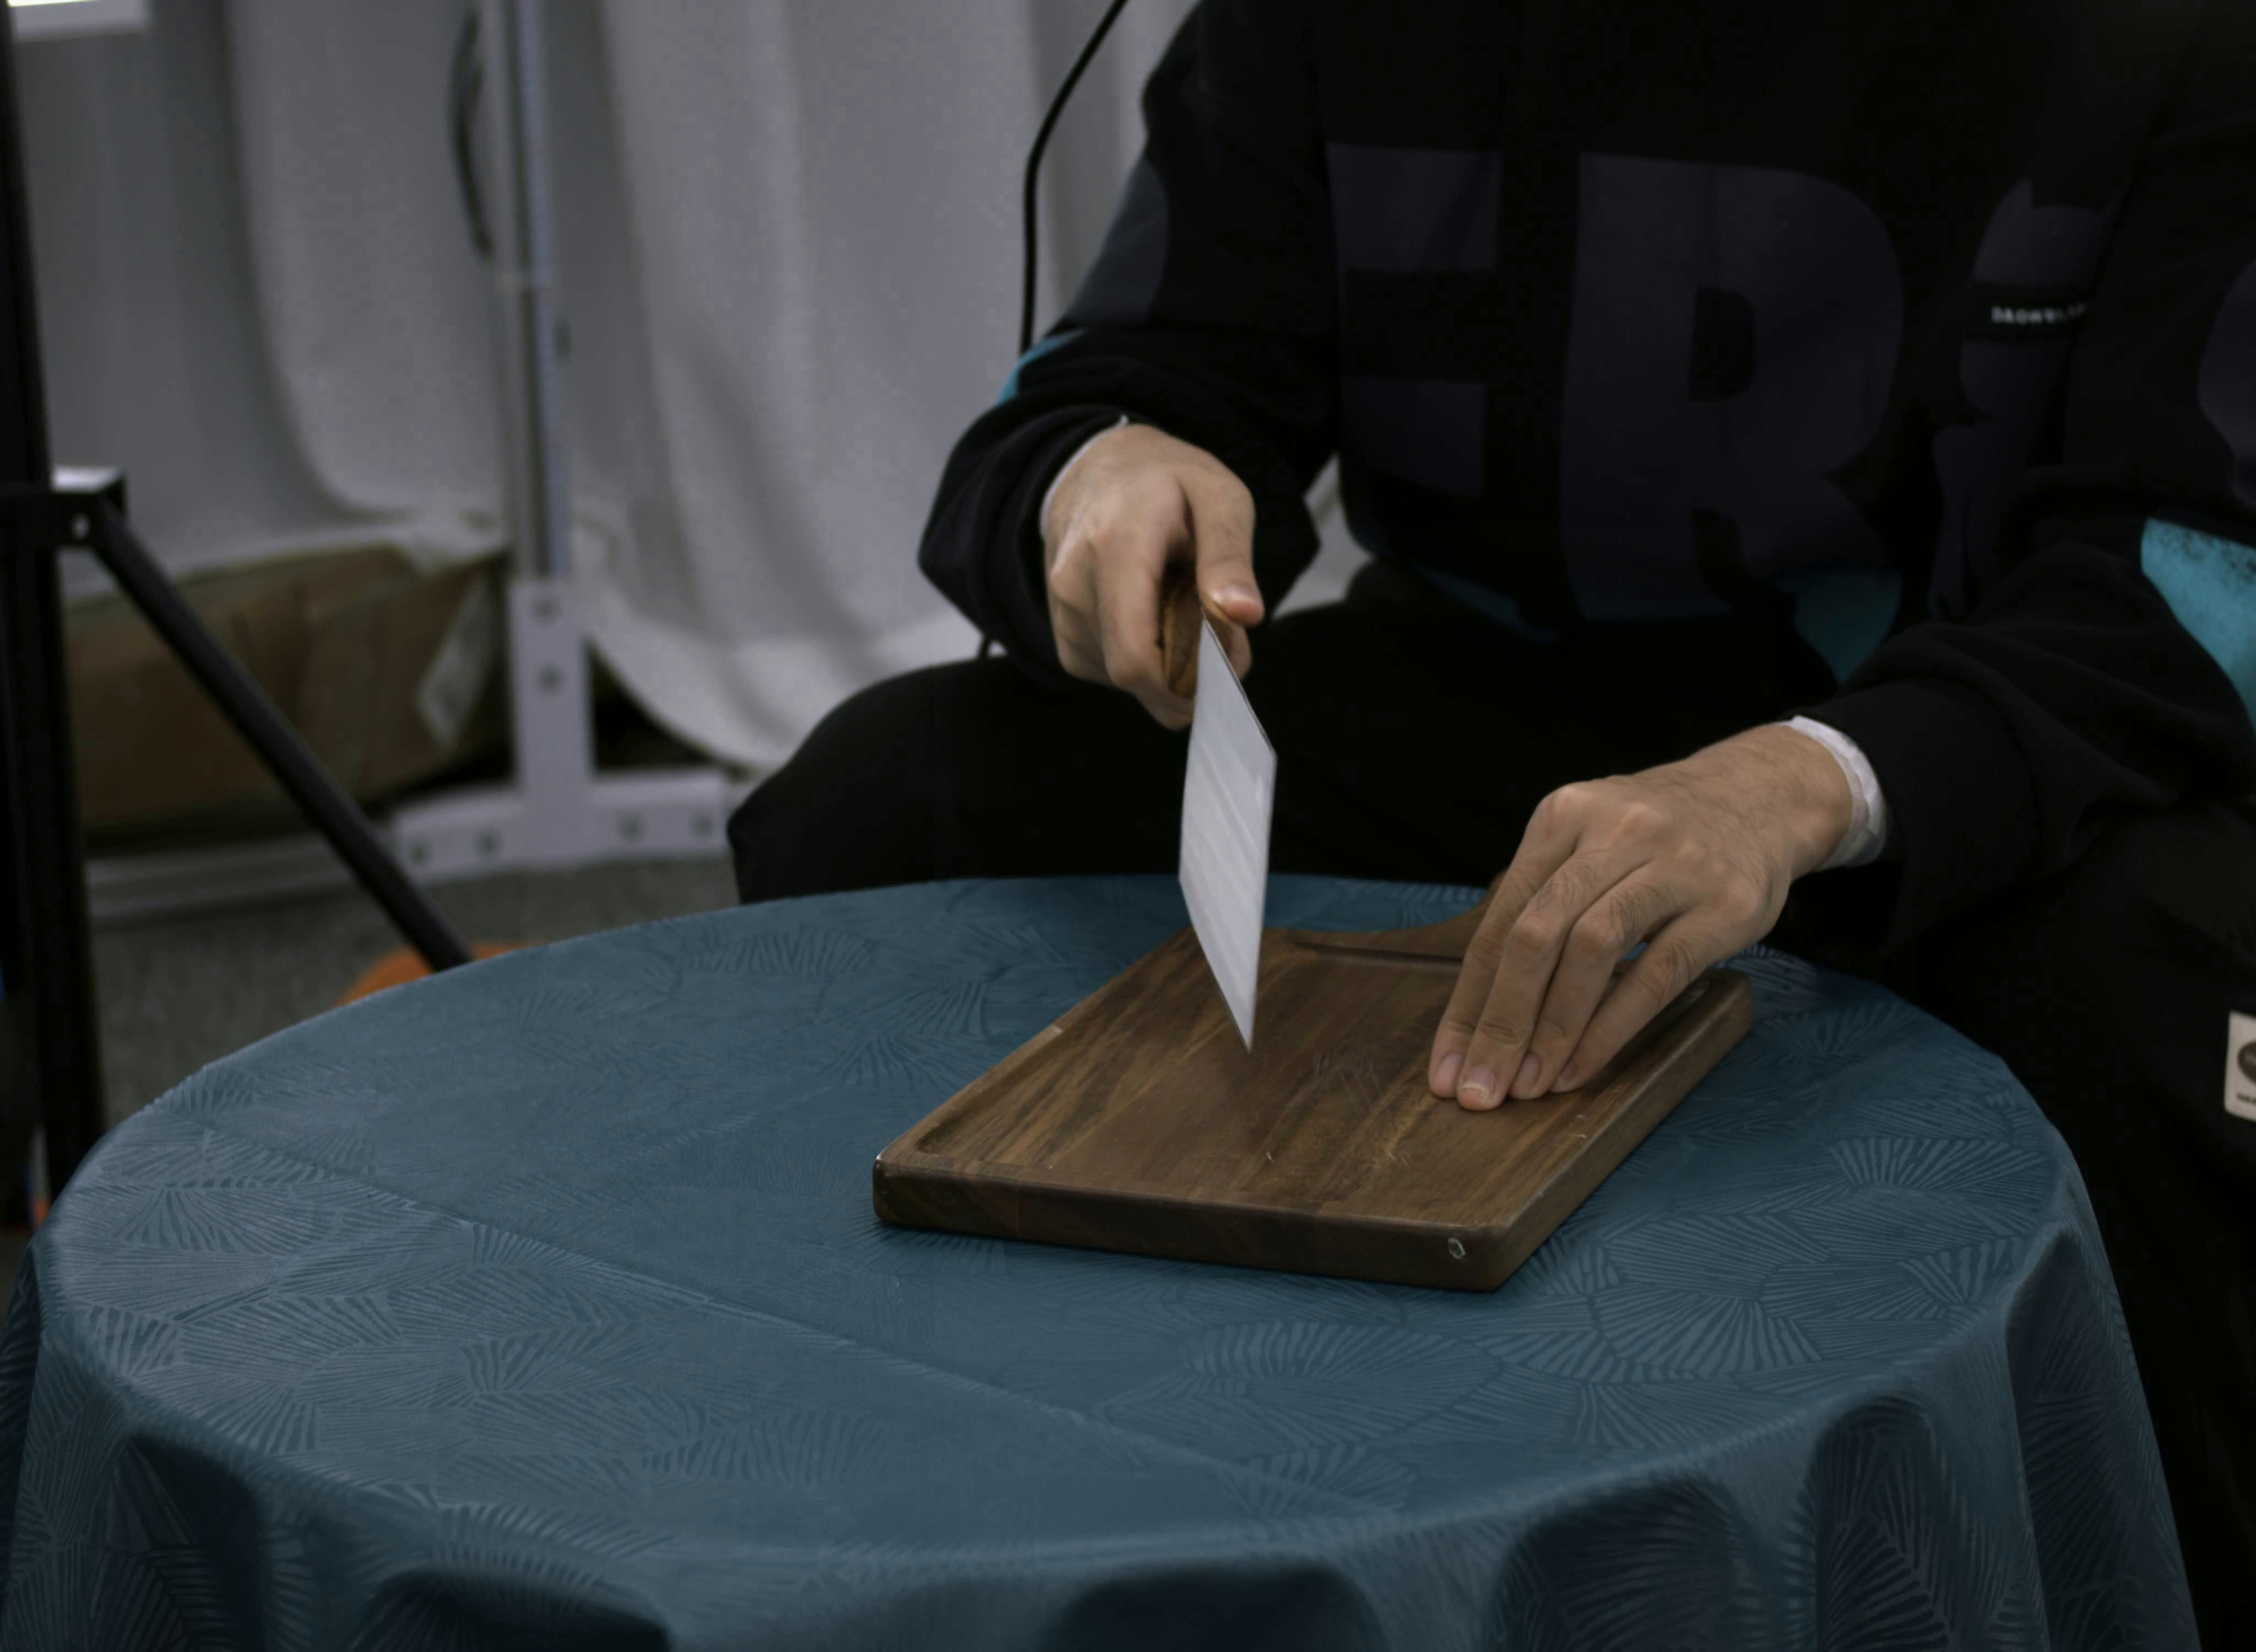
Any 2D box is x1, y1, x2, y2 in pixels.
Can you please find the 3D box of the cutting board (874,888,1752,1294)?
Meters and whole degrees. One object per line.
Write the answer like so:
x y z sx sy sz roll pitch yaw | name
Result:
0.081 0.072 1.647 0.204 0.023 0.347 6 16 23 | cutting board

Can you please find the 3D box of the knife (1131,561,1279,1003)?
0.025 -0.015 1.654 0.021 0.093 0.308 3 14 -6 | knife
